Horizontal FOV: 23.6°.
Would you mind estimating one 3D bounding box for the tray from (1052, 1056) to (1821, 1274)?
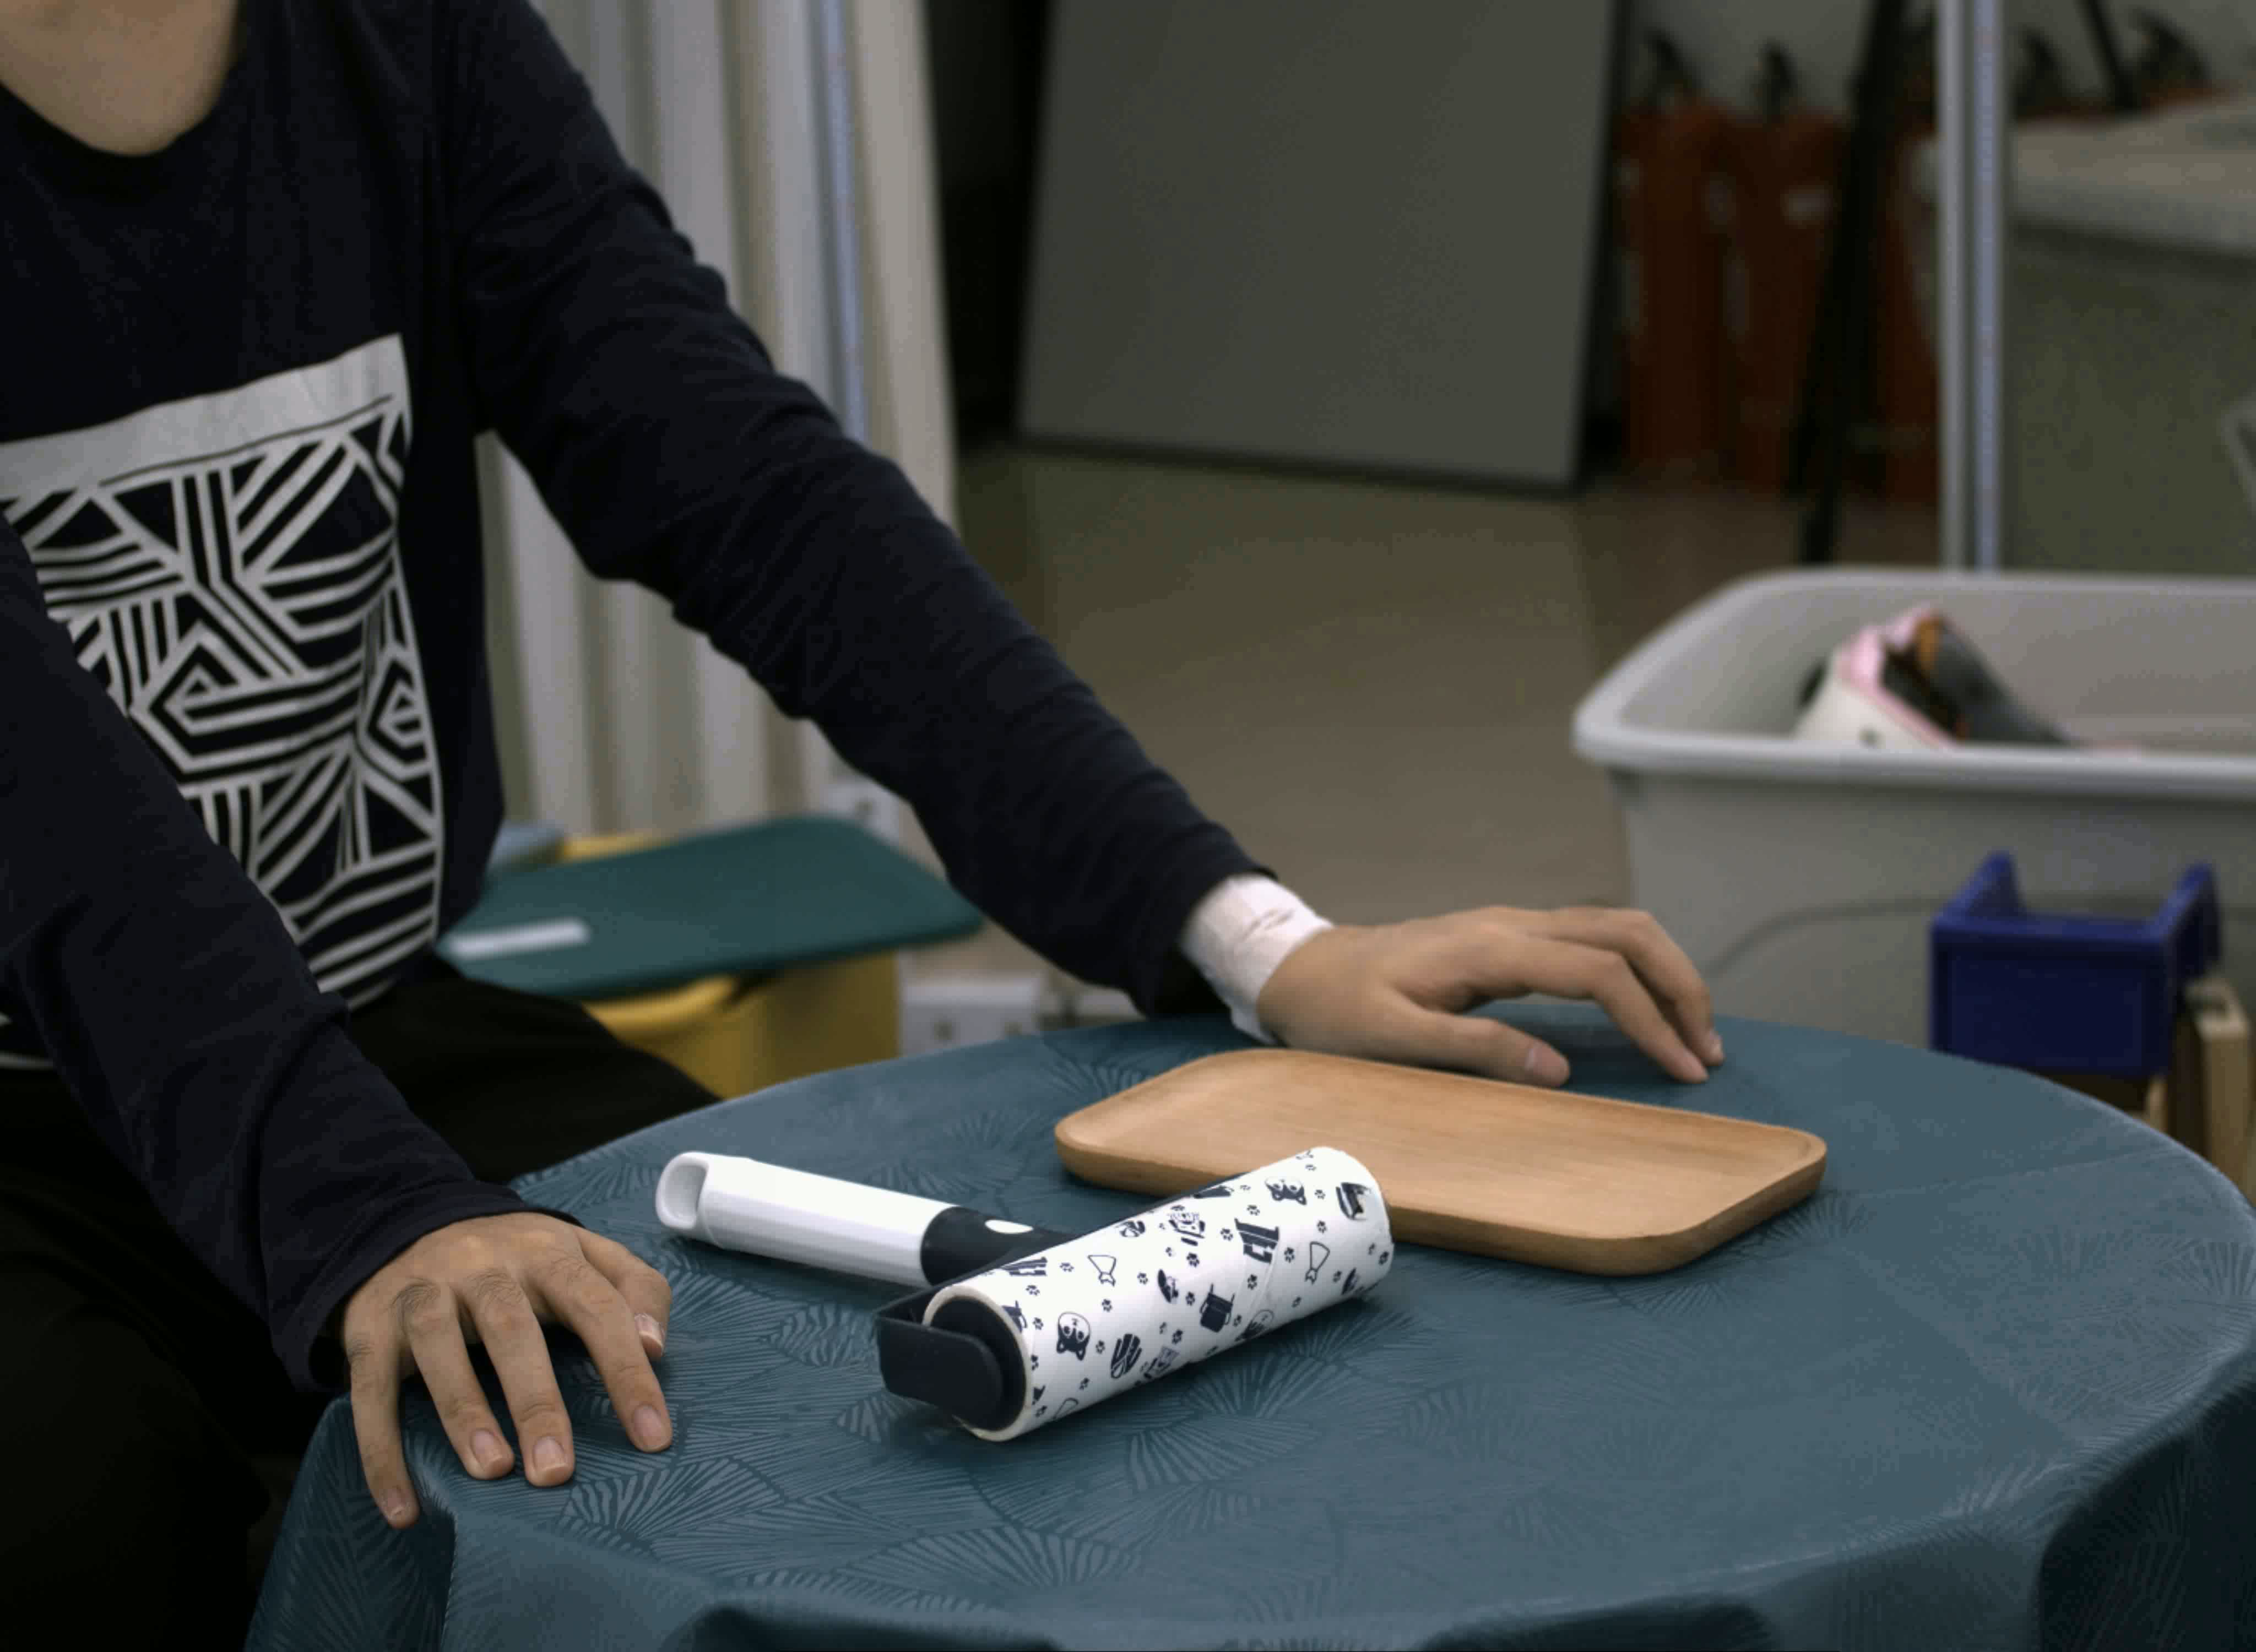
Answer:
[{"bbox_3d":[0.099,0.110,1.763,0.252,0.023,0.128,6,14,40],"label":"tray"}]

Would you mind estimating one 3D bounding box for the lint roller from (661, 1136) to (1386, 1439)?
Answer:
[{"bbox_3d":[-0.062,0.131,1.673,0.249,0.051,0.173,5,17,45],"label":"lint roller"}]
